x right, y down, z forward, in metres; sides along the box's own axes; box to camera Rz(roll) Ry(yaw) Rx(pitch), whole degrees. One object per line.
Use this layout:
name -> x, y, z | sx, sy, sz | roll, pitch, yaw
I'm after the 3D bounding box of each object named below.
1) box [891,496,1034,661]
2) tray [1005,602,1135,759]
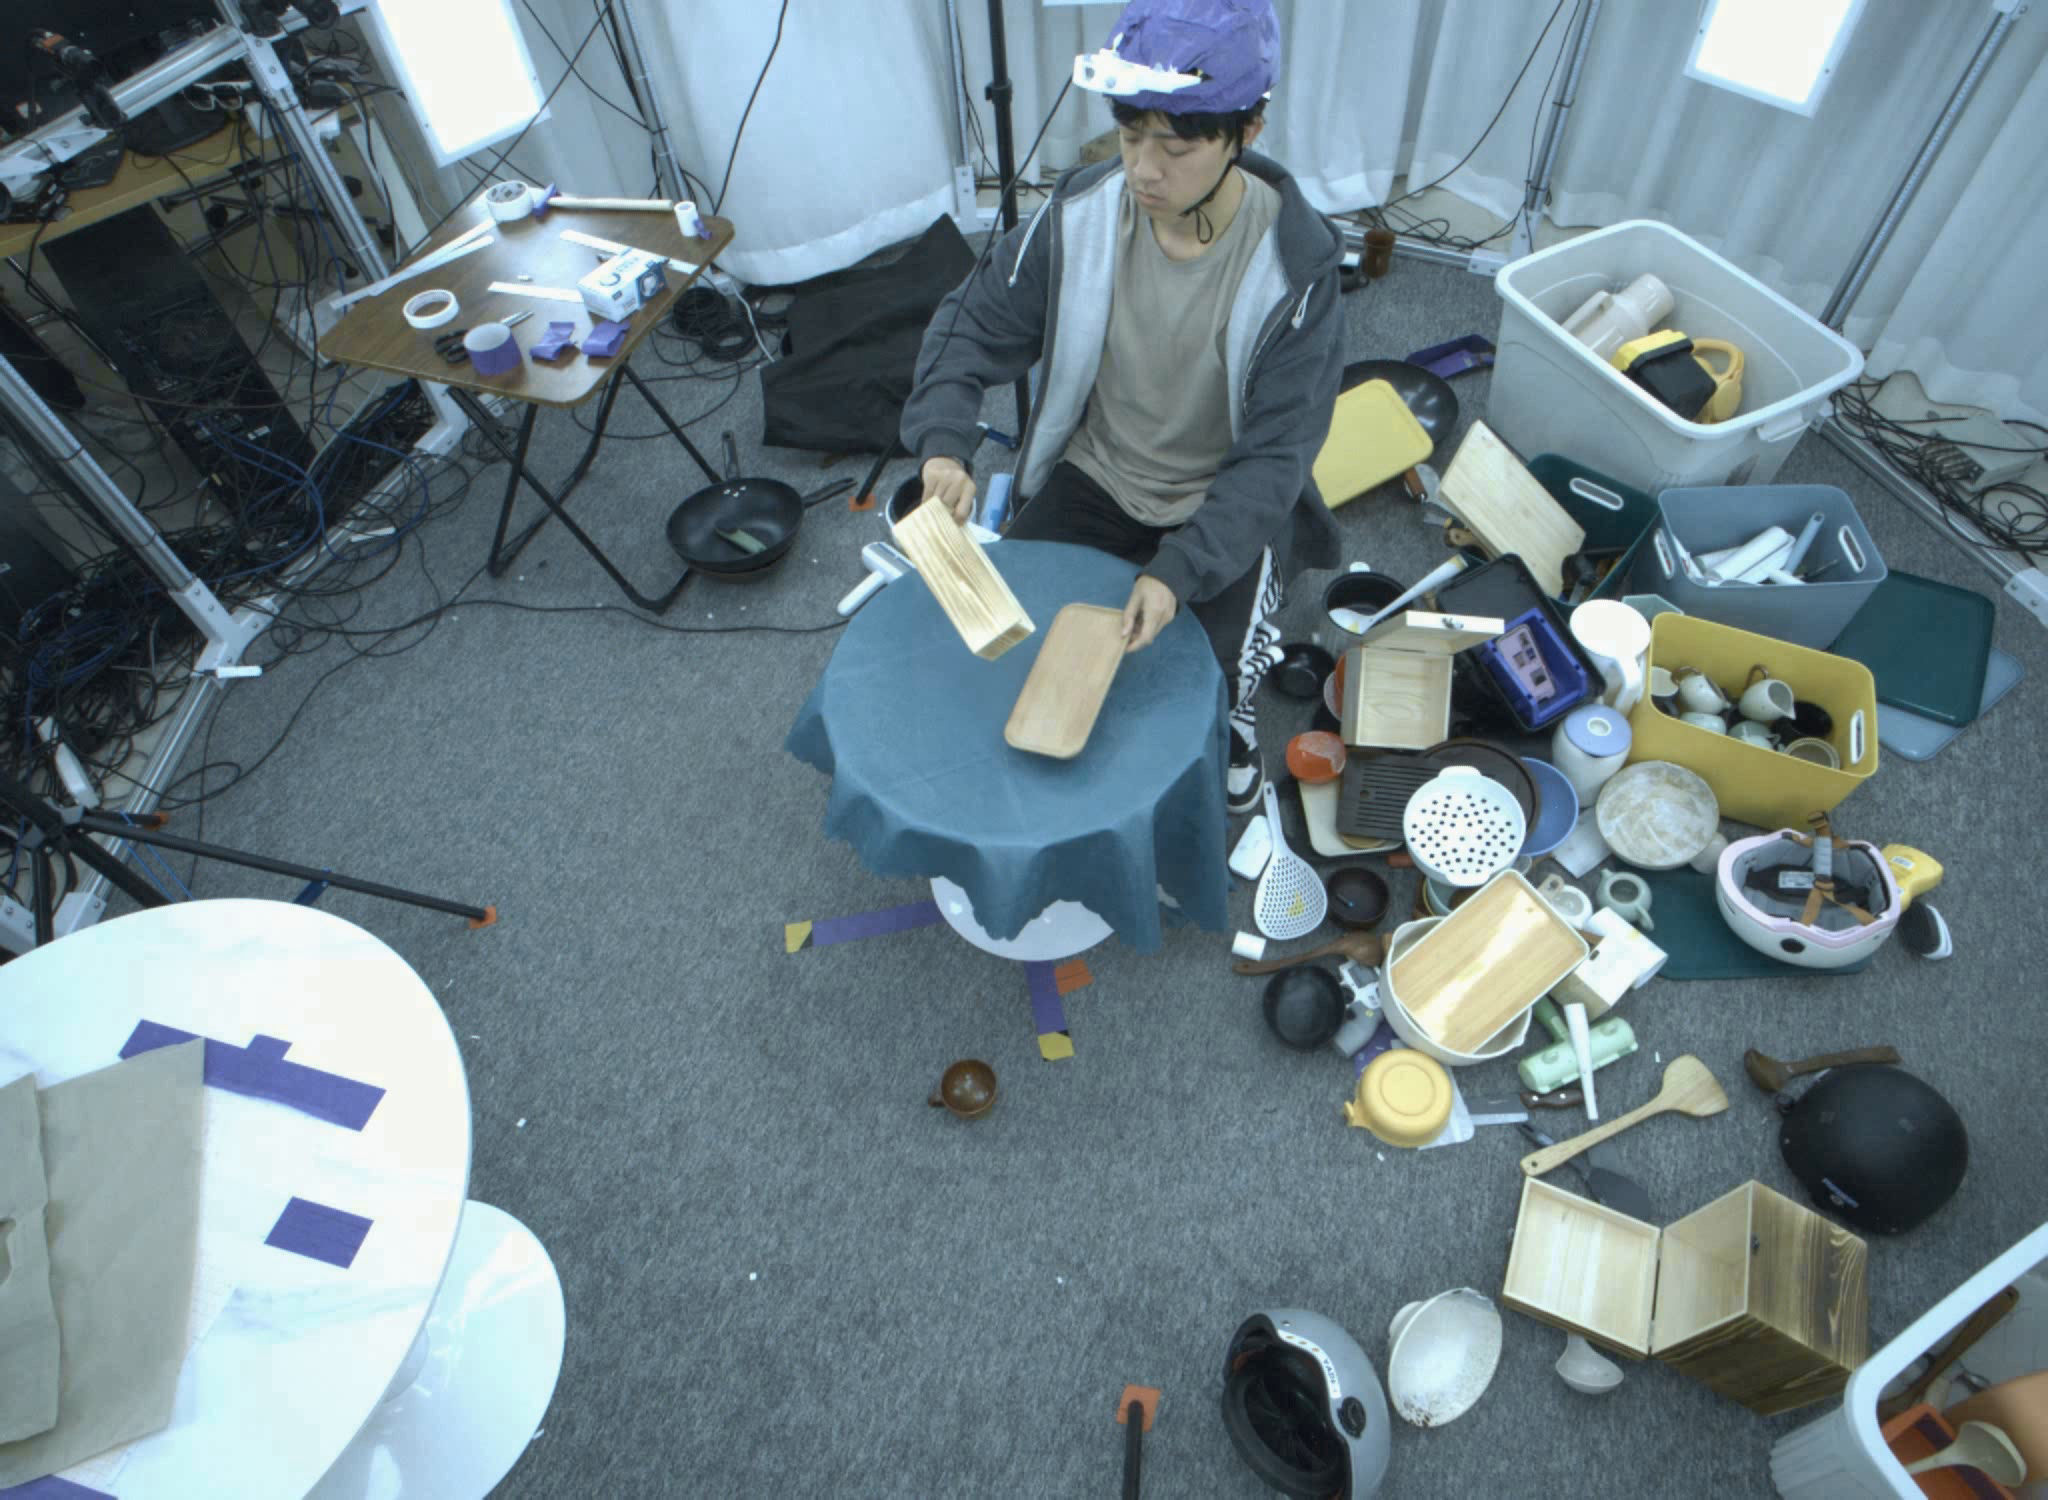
box -> -0.085, -0.235, 1.694 | 0.080, 0.108, 0.210 | -35, 83, 9
tray -> 0.067, -0.103, 1.784 | 0.128, 0.023, 0.250 | 15, 68, 23
